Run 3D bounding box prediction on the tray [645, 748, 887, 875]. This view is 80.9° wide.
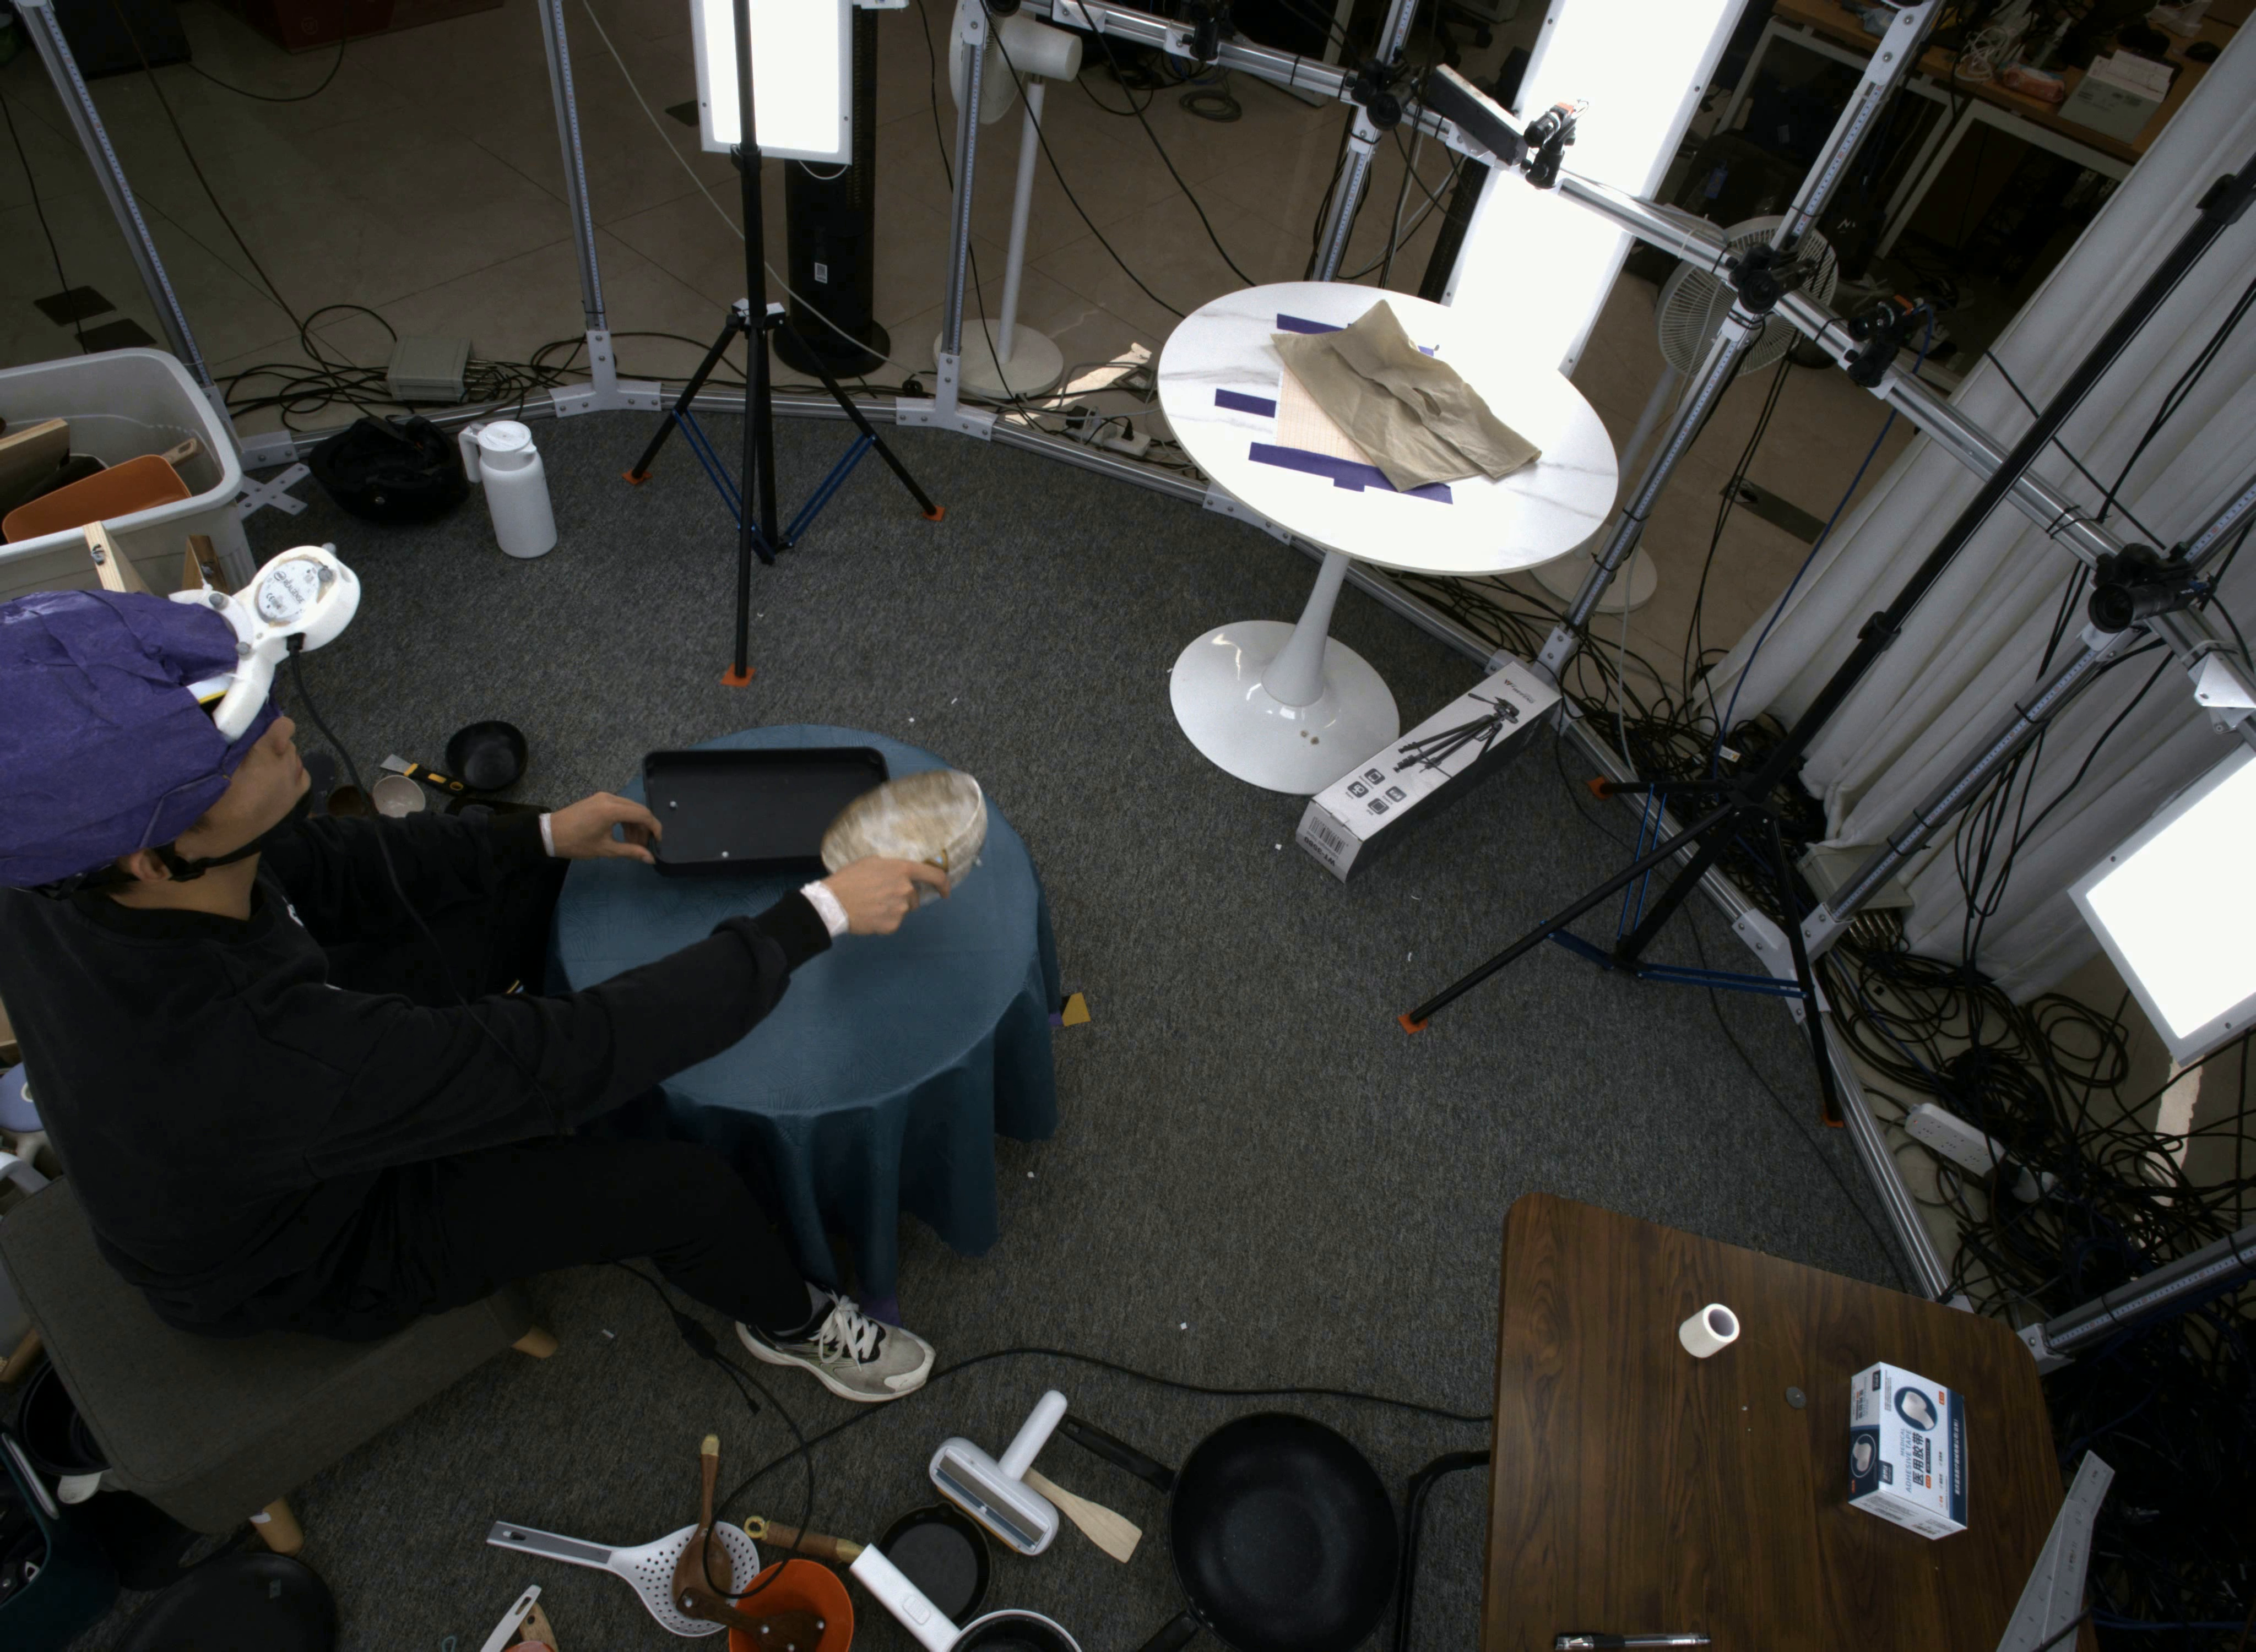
[{"bbox_3d":[-0.462,-0.021,1.684,0.322,0.037,0.180,0,52,-28],"label":"tray"}]

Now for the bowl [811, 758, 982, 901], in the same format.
[{"bbox_3d":[-0.262,0.018,1.546,0.211,0.098,0.210,-12,39,11],"label":"bowl"}]
